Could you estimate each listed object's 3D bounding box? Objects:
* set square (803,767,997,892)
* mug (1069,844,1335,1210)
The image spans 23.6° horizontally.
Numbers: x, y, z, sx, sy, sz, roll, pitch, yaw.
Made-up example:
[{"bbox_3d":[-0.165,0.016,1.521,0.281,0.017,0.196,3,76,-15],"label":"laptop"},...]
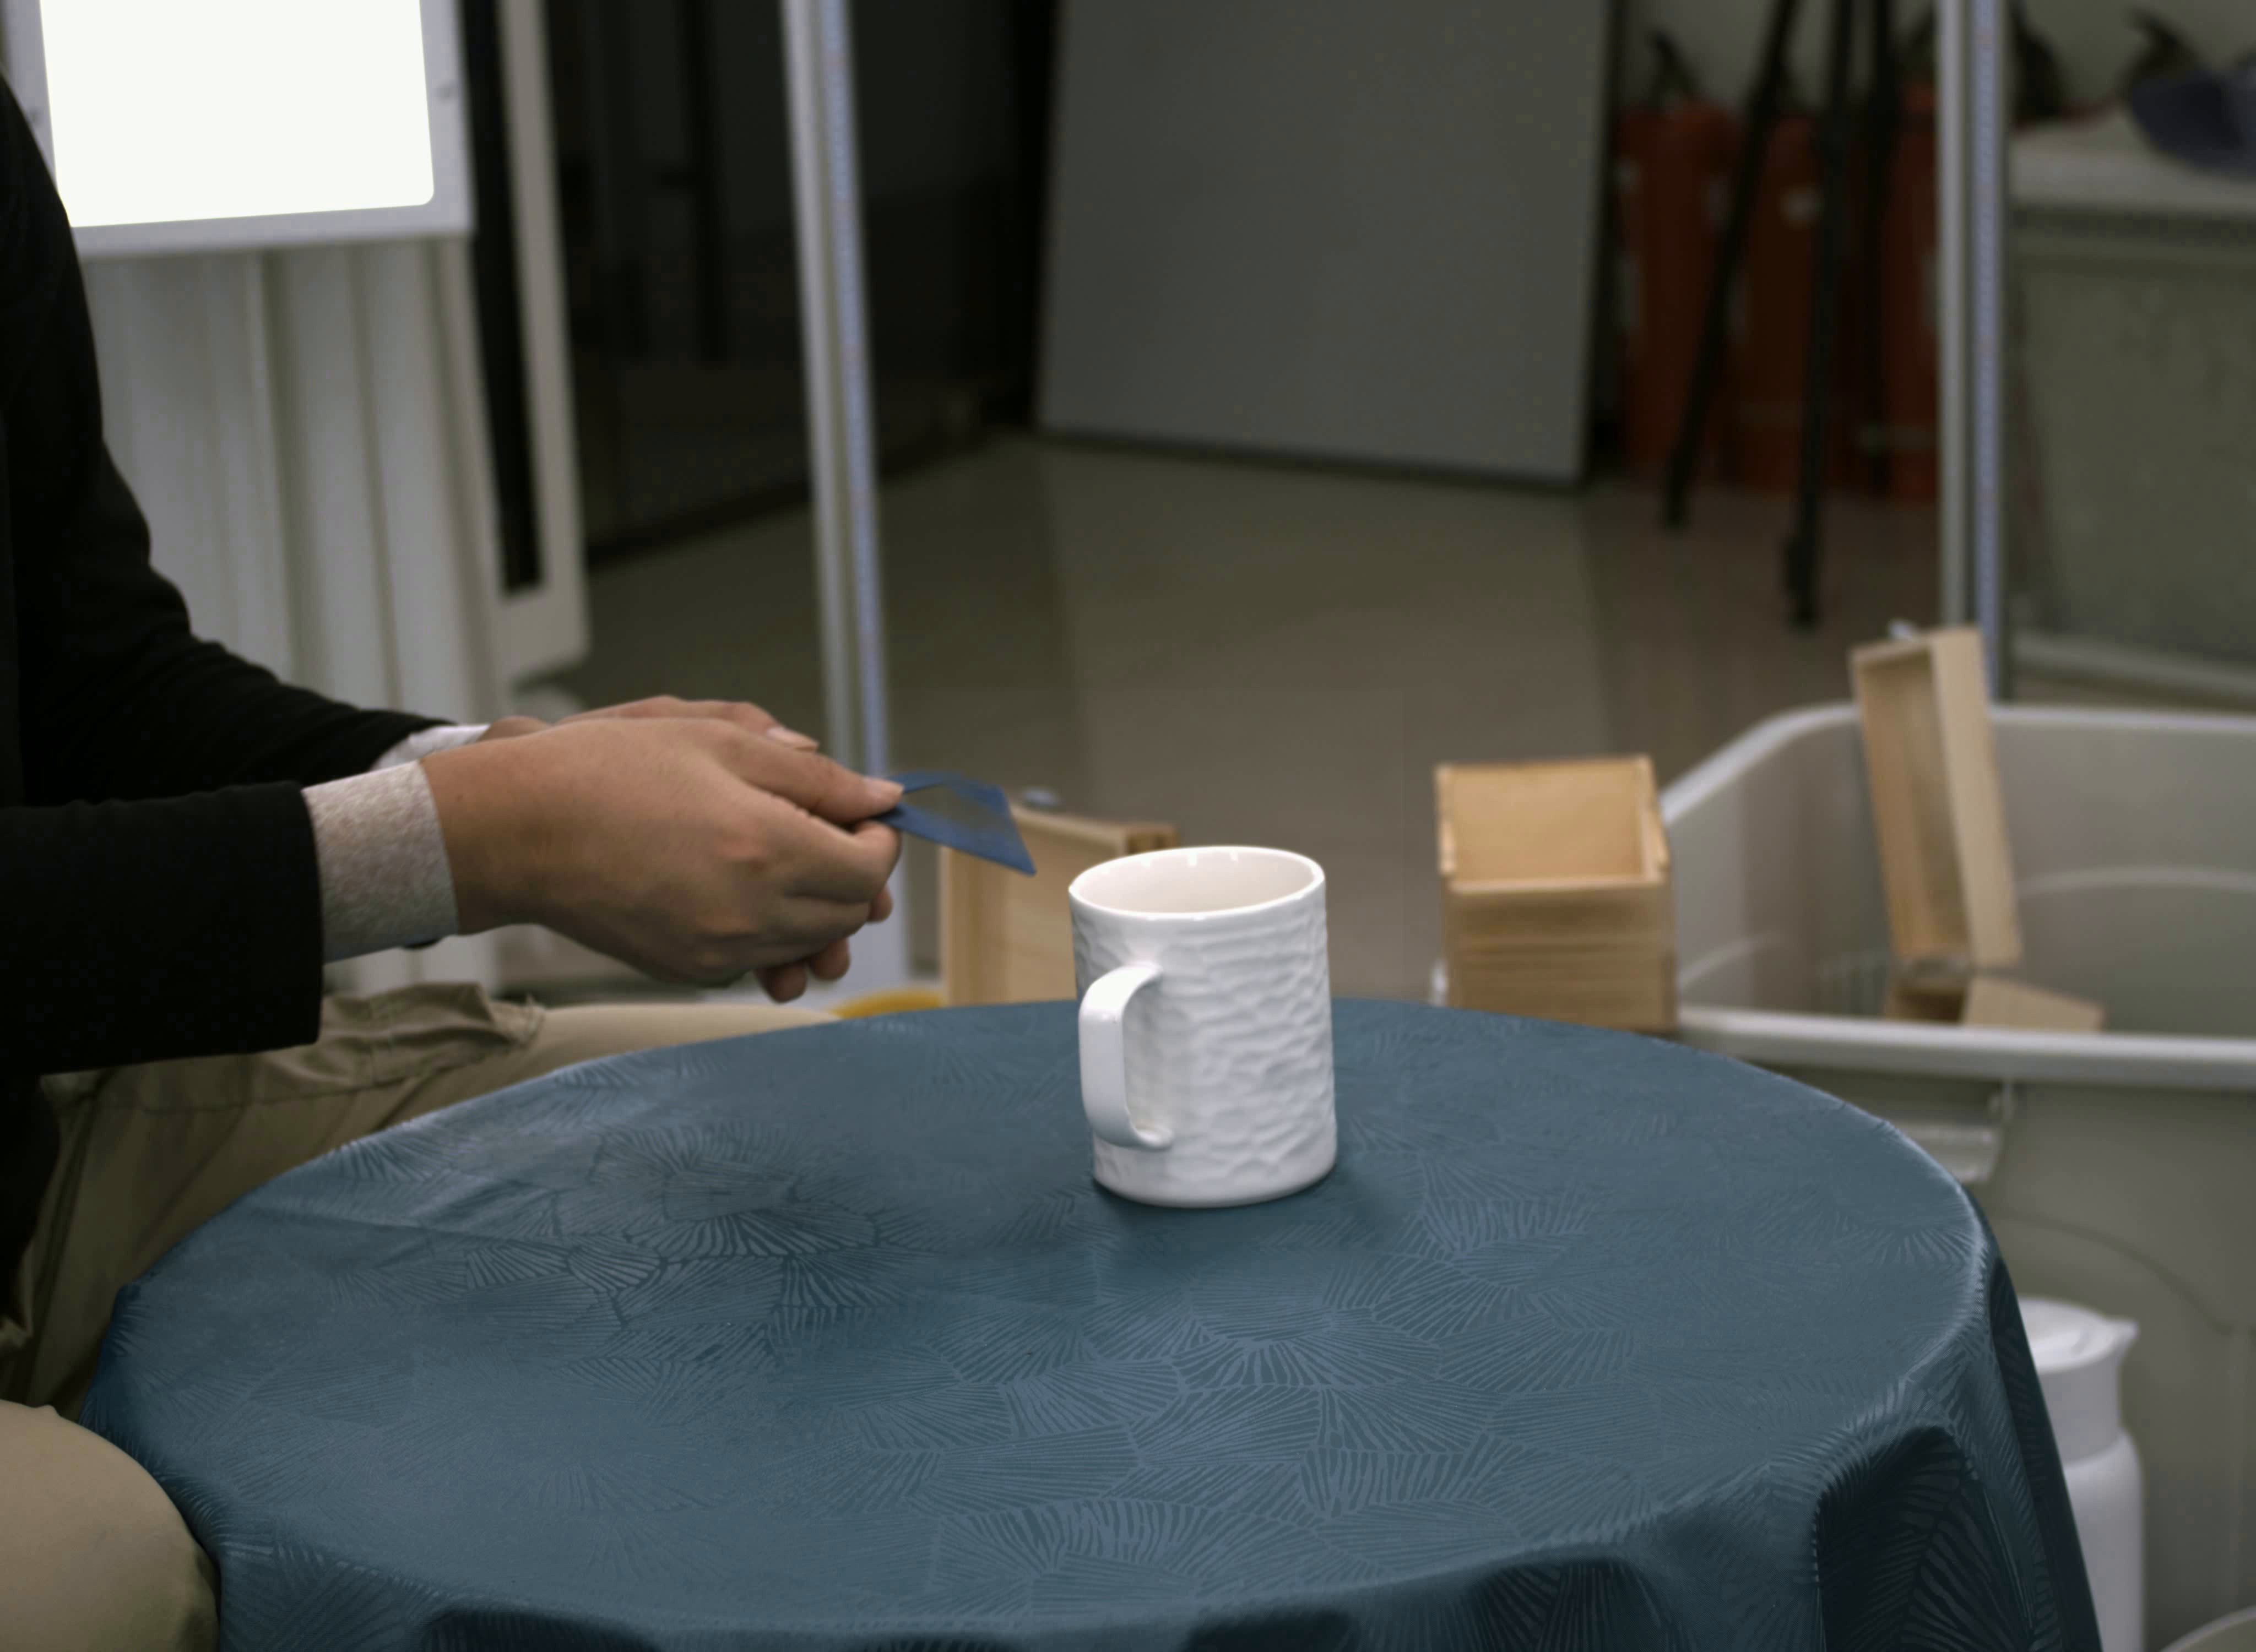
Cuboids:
[{"bbox_3d":[-0.074,0.001,1.738,0.060,0.006,0.132,-3,18,-3],"label":"set square"},{"bbox_3d":[0.018,0.069,1.758,0.085,0.103,0.116,4,15,28],"label":"mug"}]
